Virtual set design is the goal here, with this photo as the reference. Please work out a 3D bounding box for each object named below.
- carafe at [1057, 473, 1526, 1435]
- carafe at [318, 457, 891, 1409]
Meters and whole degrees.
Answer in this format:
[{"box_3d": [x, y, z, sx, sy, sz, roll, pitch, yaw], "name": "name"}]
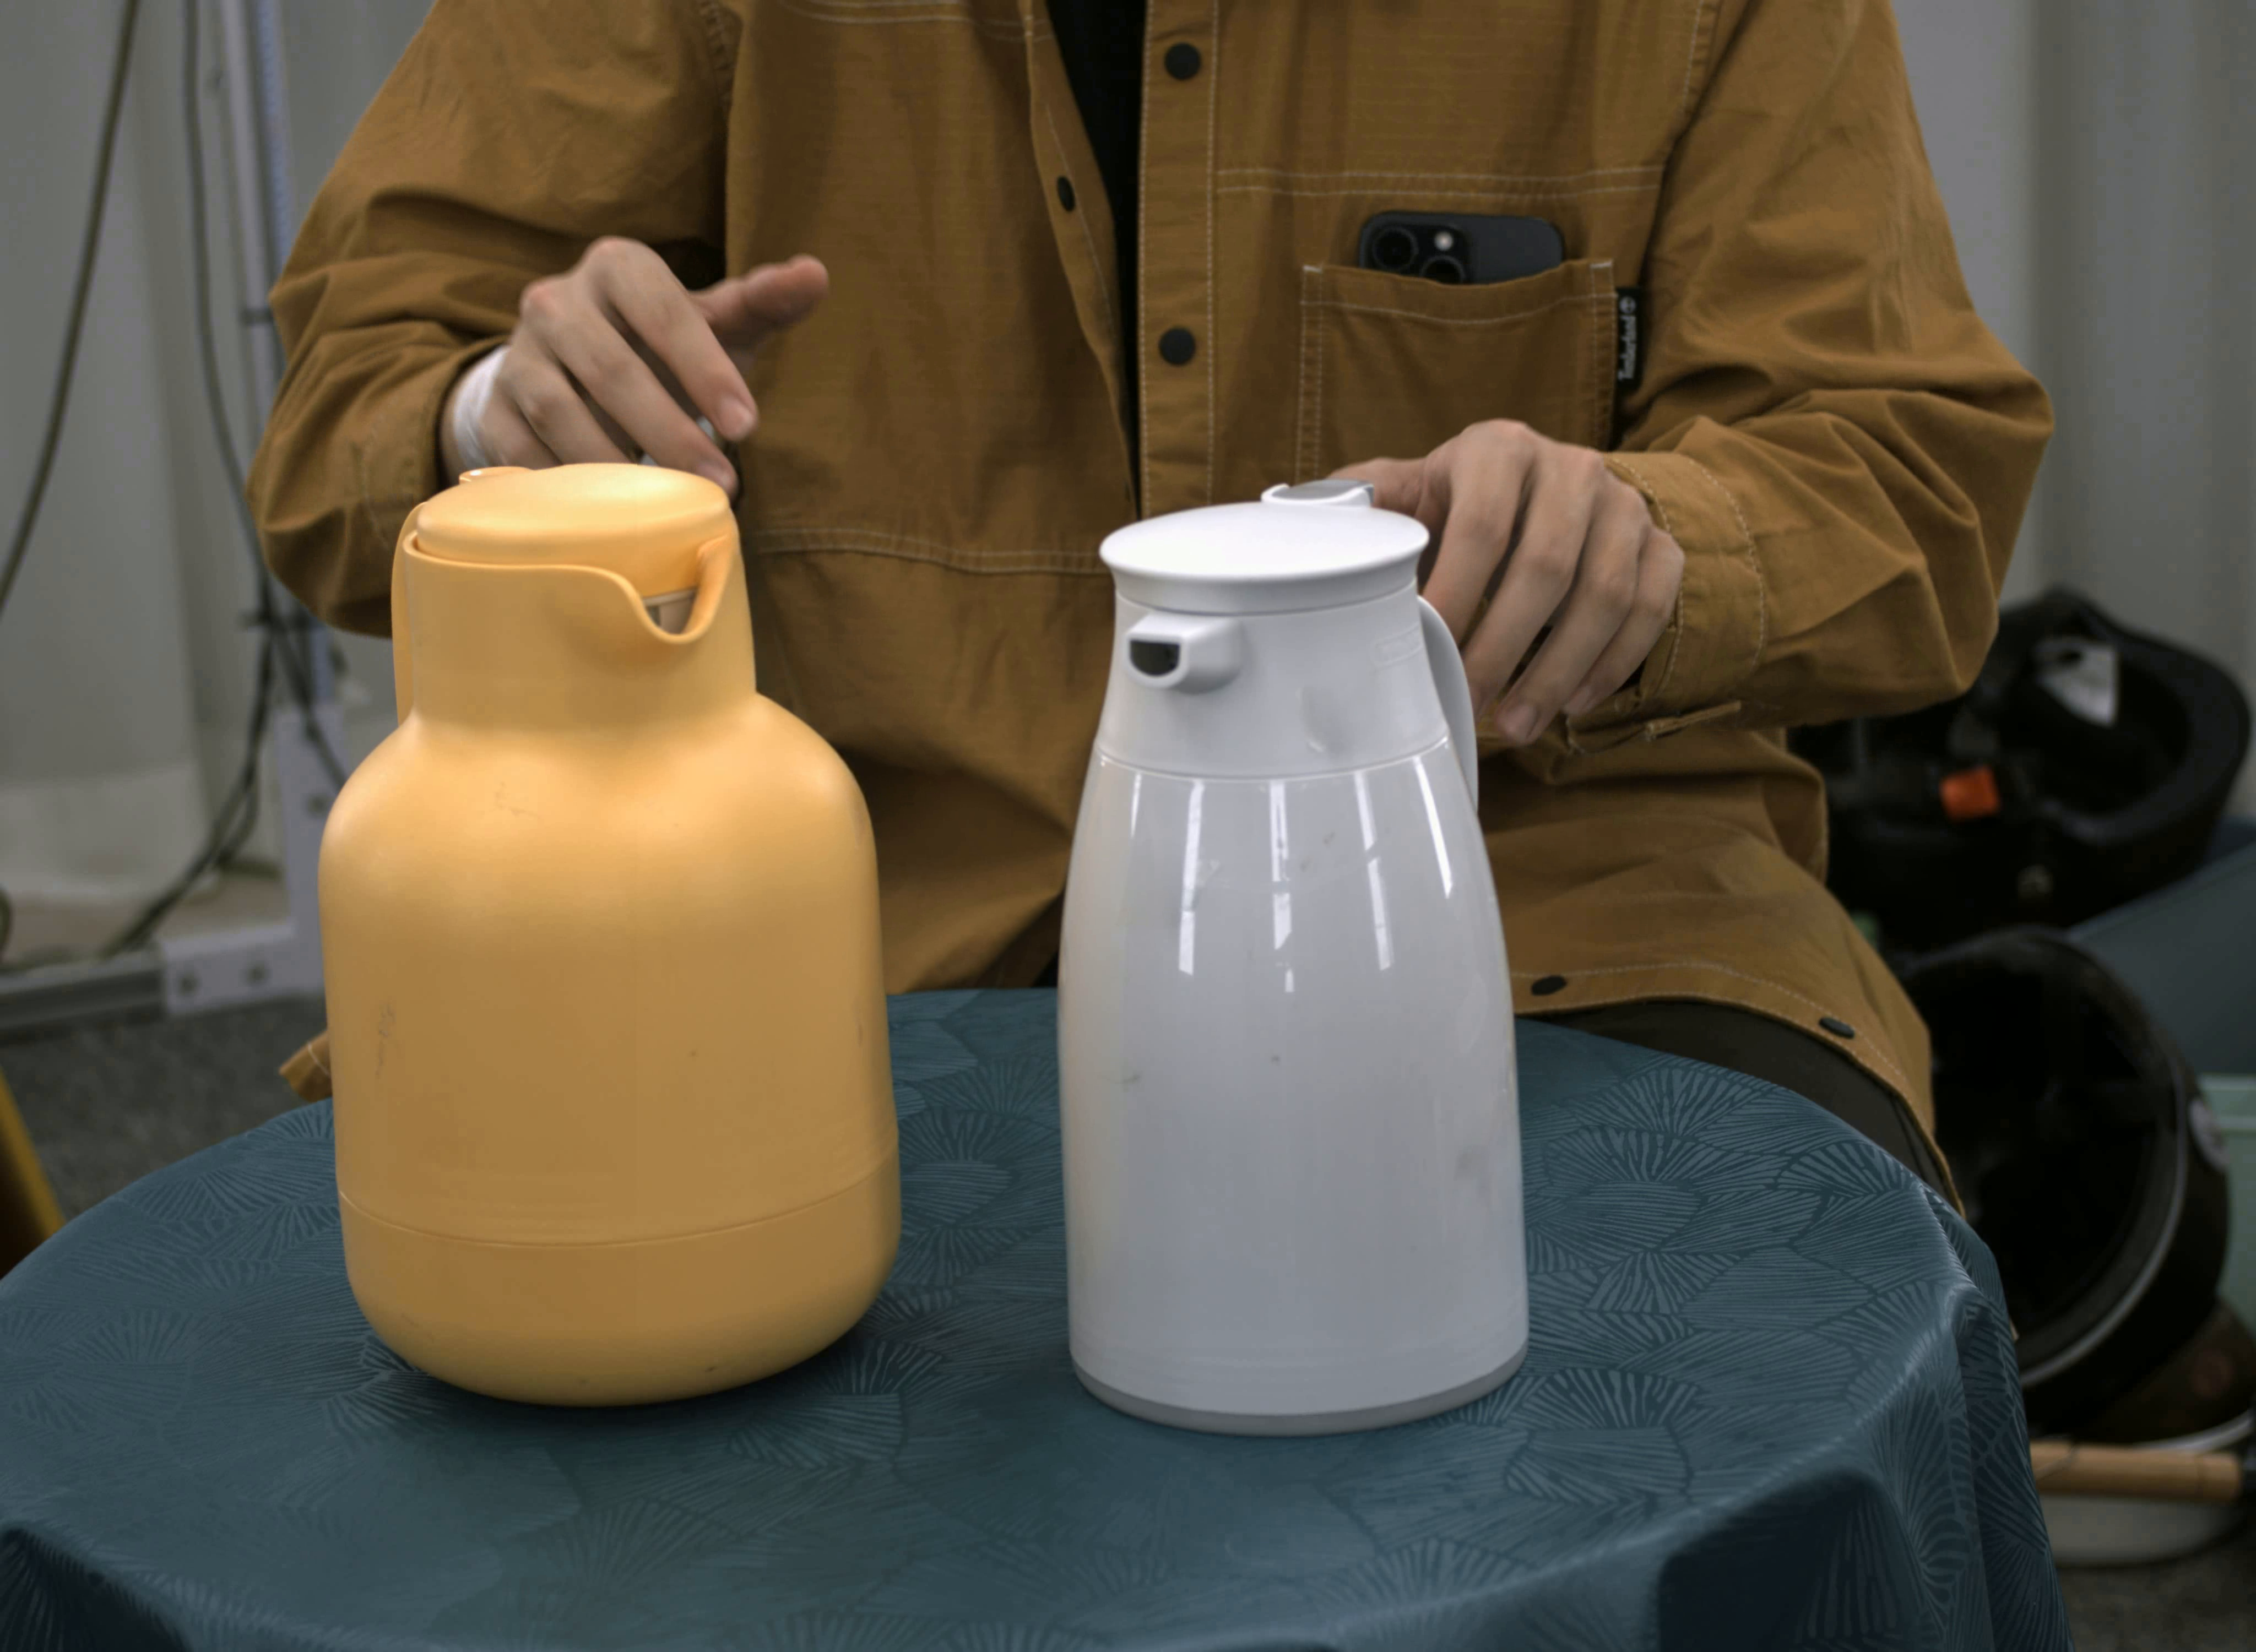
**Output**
[{"box_3d": [0.052, 0.027, 1.553, 0.133, 0.248, 0.168, 5, 15, 30], "name": "carafe"}, {"box_3d": [-0.159, 0.022, 1.592, 0.162, 0.259, 0.204, -7, 16, -25], "name": "carafe"}]
